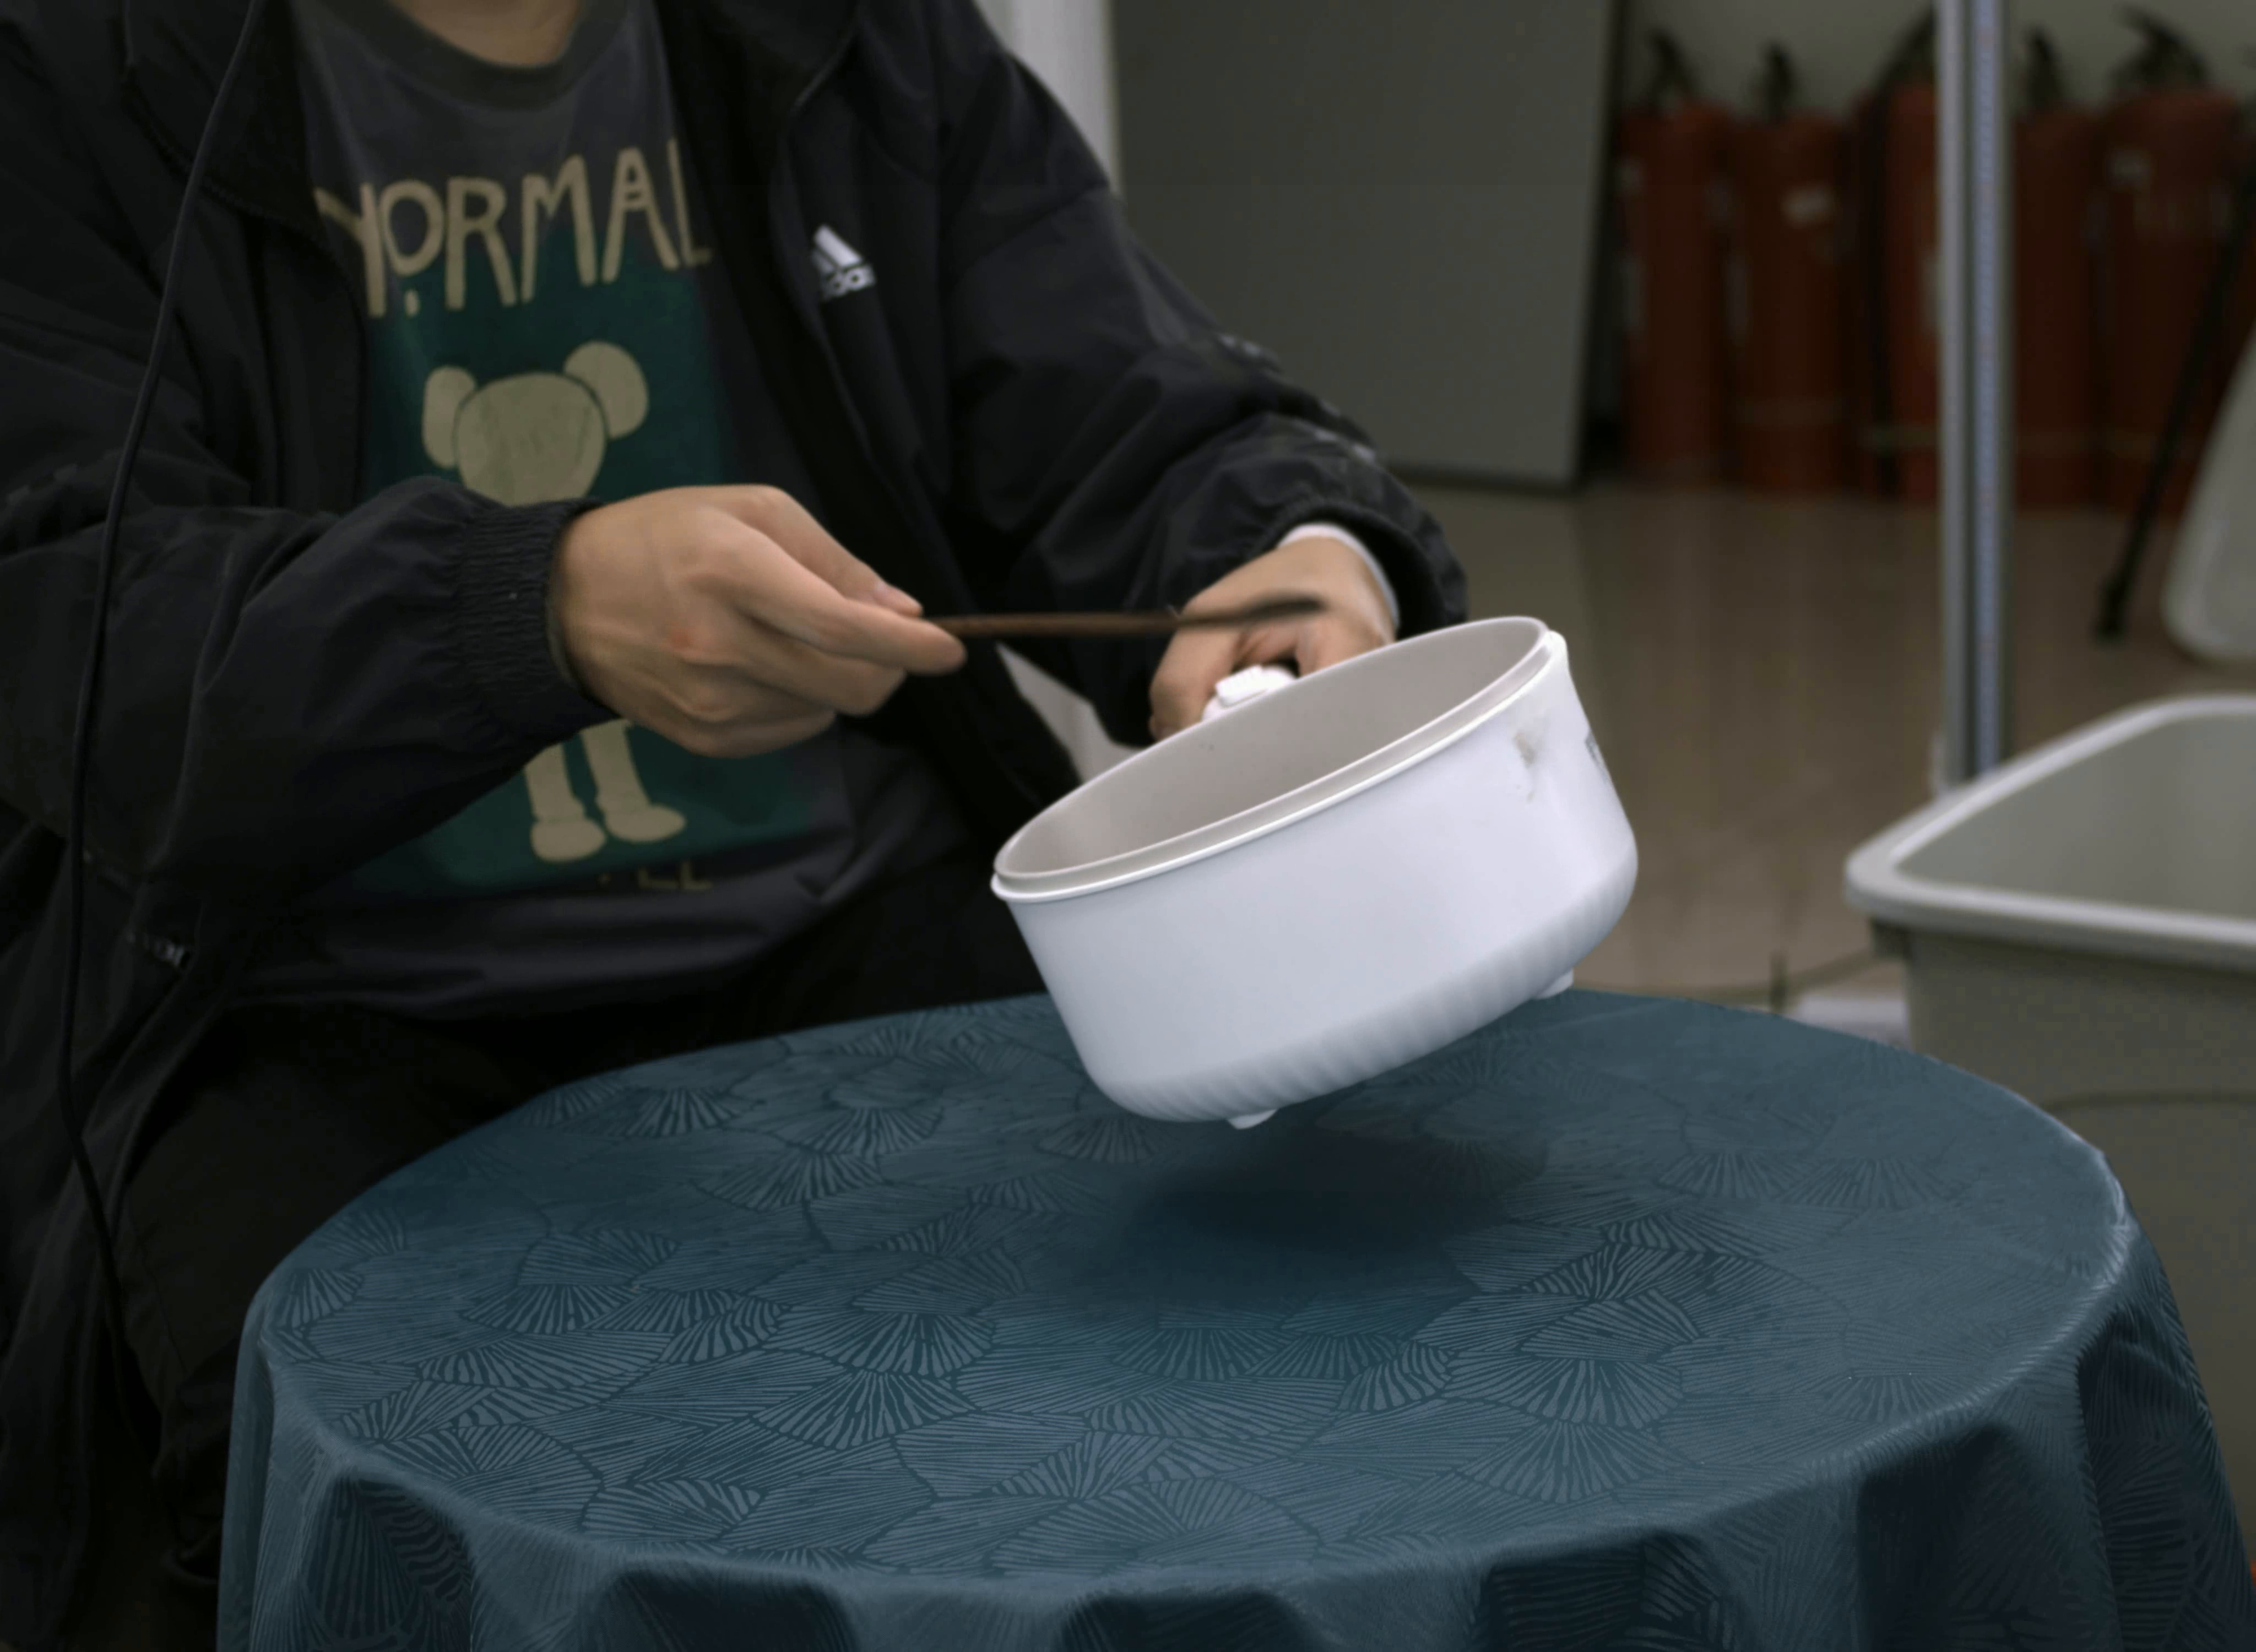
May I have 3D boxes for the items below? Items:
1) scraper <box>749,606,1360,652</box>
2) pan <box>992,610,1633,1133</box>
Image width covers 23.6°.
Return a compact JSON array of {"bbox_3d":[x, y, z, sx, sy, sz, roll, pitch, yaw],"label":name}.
[{"bbox_3d":[-0.028,-0.063,1.767,0.211,0.011,0.075,-1,1,25],"label":"scraper"},{"bbox_3d":[0.062,0.009,1.810,0.200,0.103,0.355,-25,8,2],"label":"pan"}]
